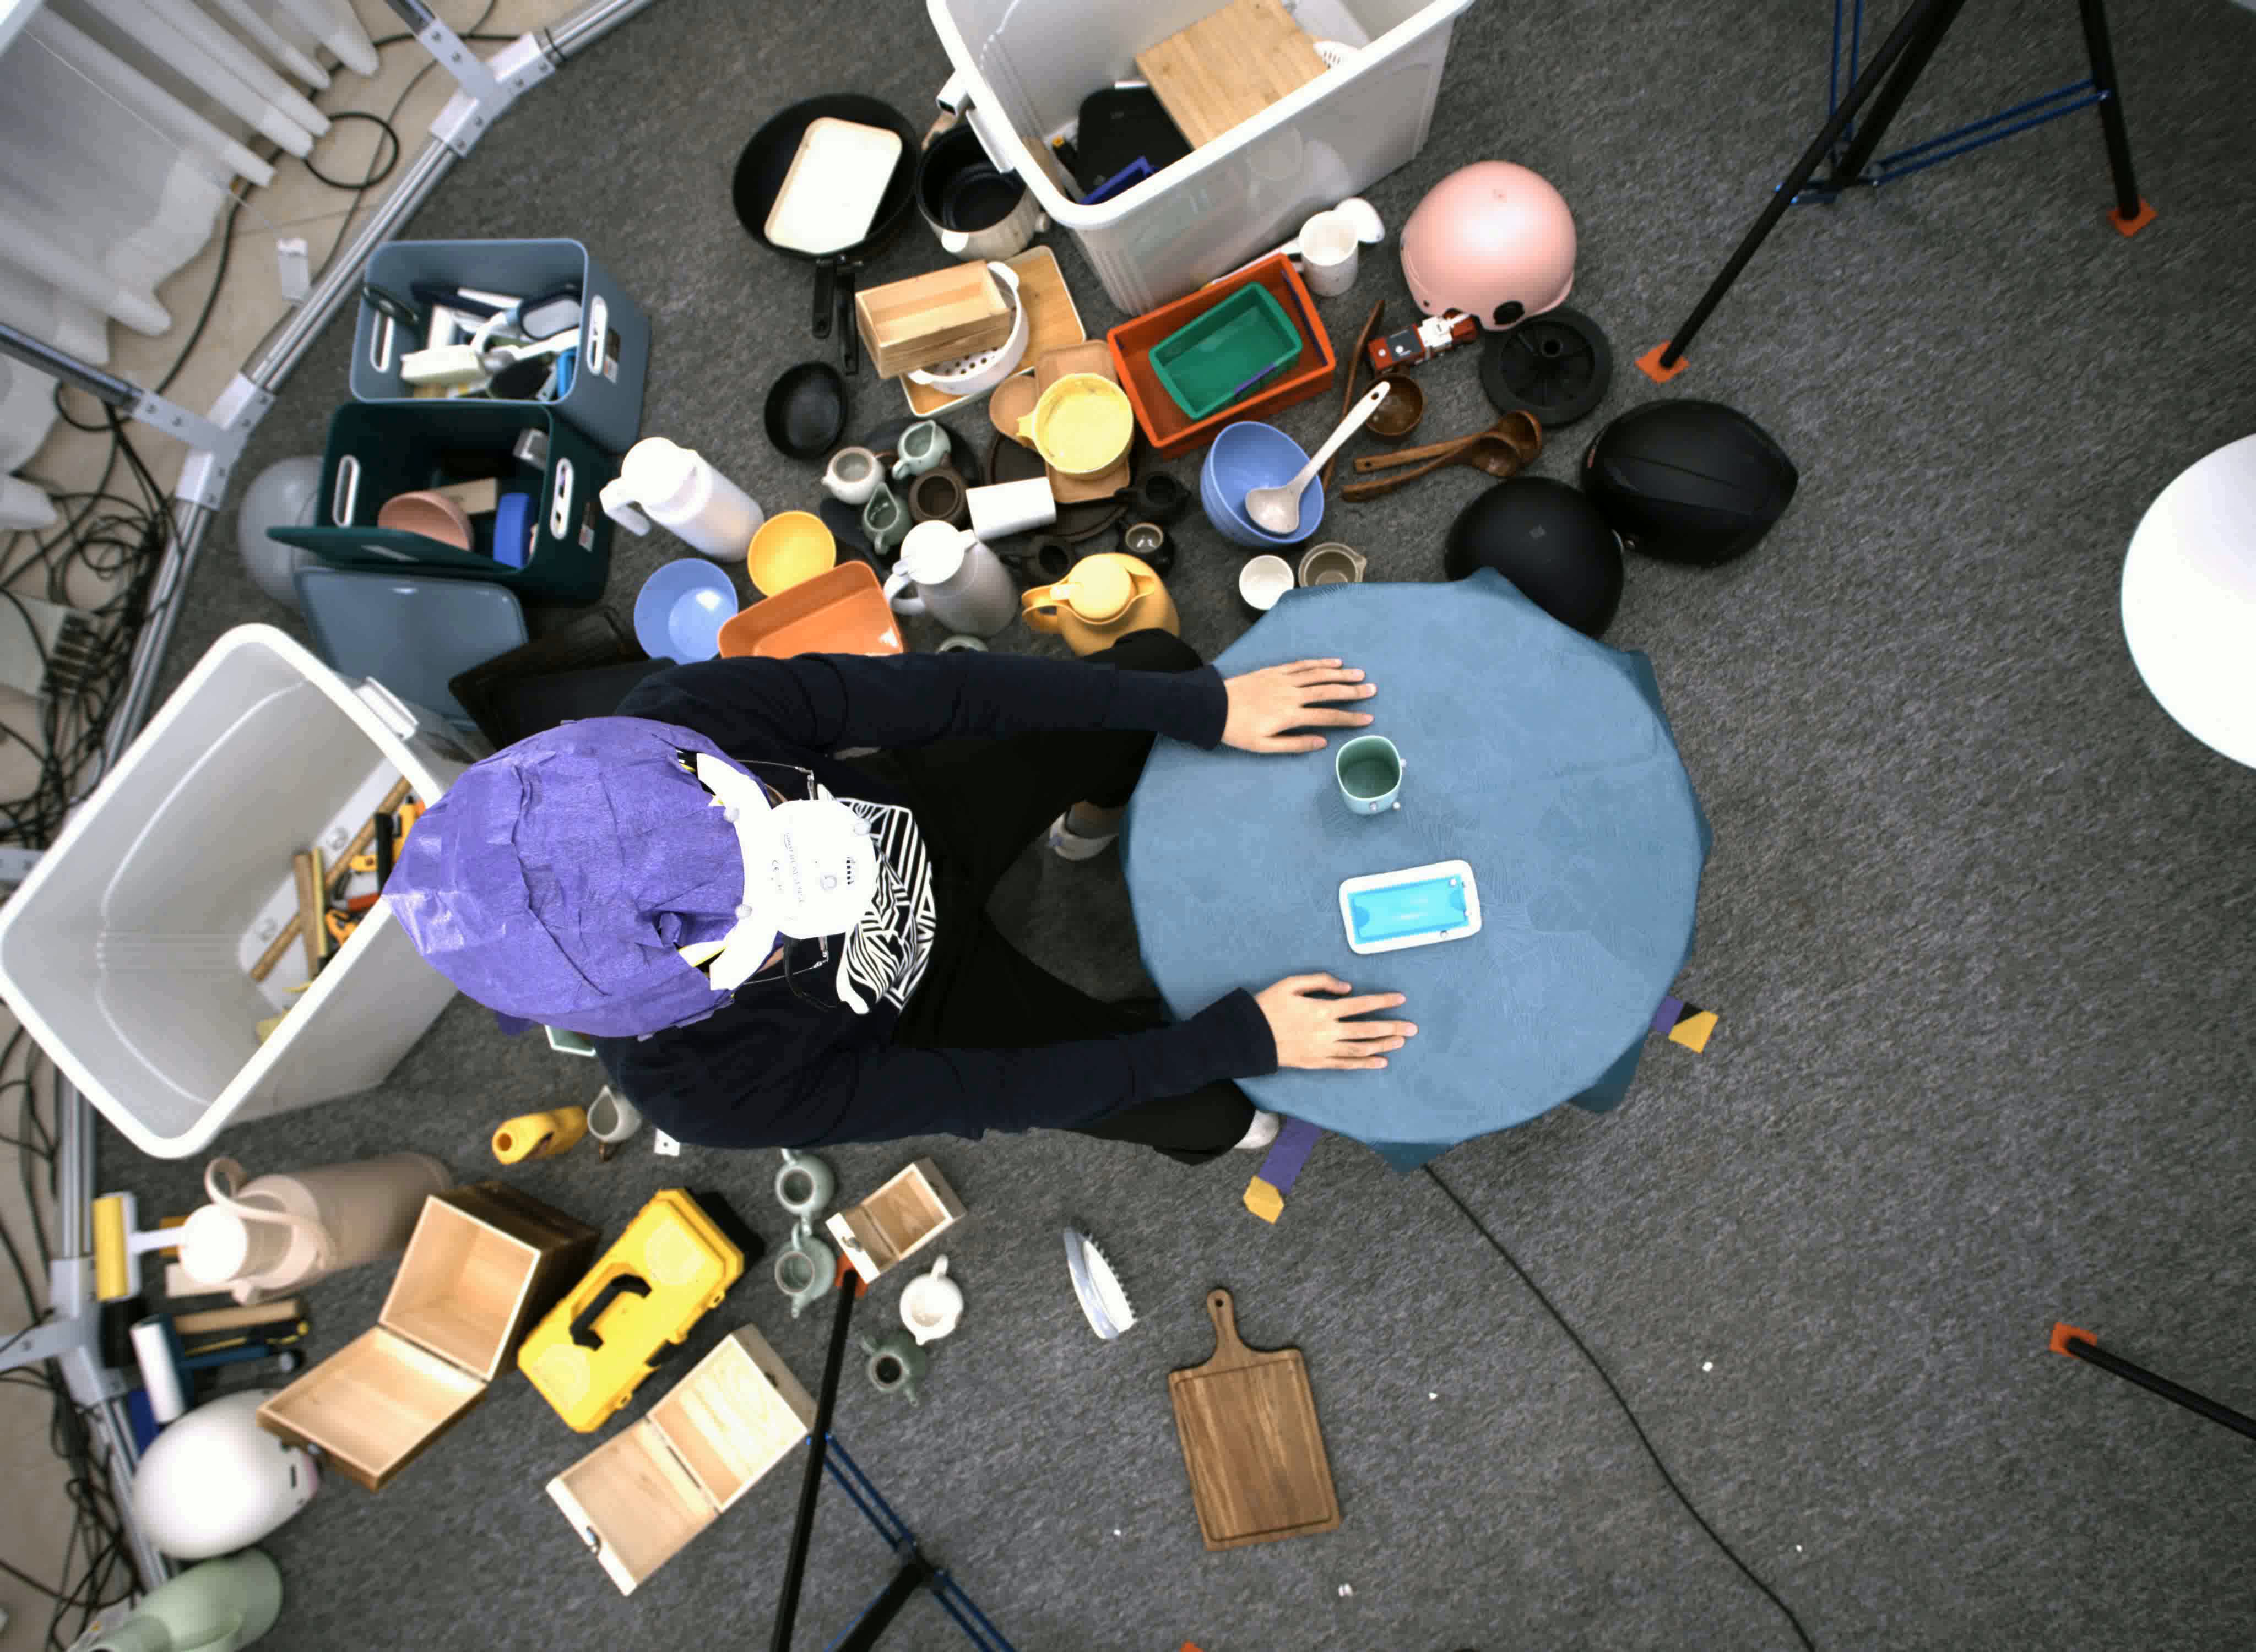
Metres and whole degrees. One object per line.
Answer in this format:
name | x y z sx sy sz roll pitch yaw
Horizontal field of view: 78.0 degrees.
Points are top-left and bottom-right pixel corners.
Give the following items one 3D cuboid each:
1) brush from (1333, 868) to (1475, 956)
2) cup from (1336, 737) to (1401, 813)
brush | 0.285 0.084 1.425 0.144 0.056 0.083 -8 82 7
cup | 0.245 -0.051 1.409 0.067 0.132 0.066 -1 85 11
